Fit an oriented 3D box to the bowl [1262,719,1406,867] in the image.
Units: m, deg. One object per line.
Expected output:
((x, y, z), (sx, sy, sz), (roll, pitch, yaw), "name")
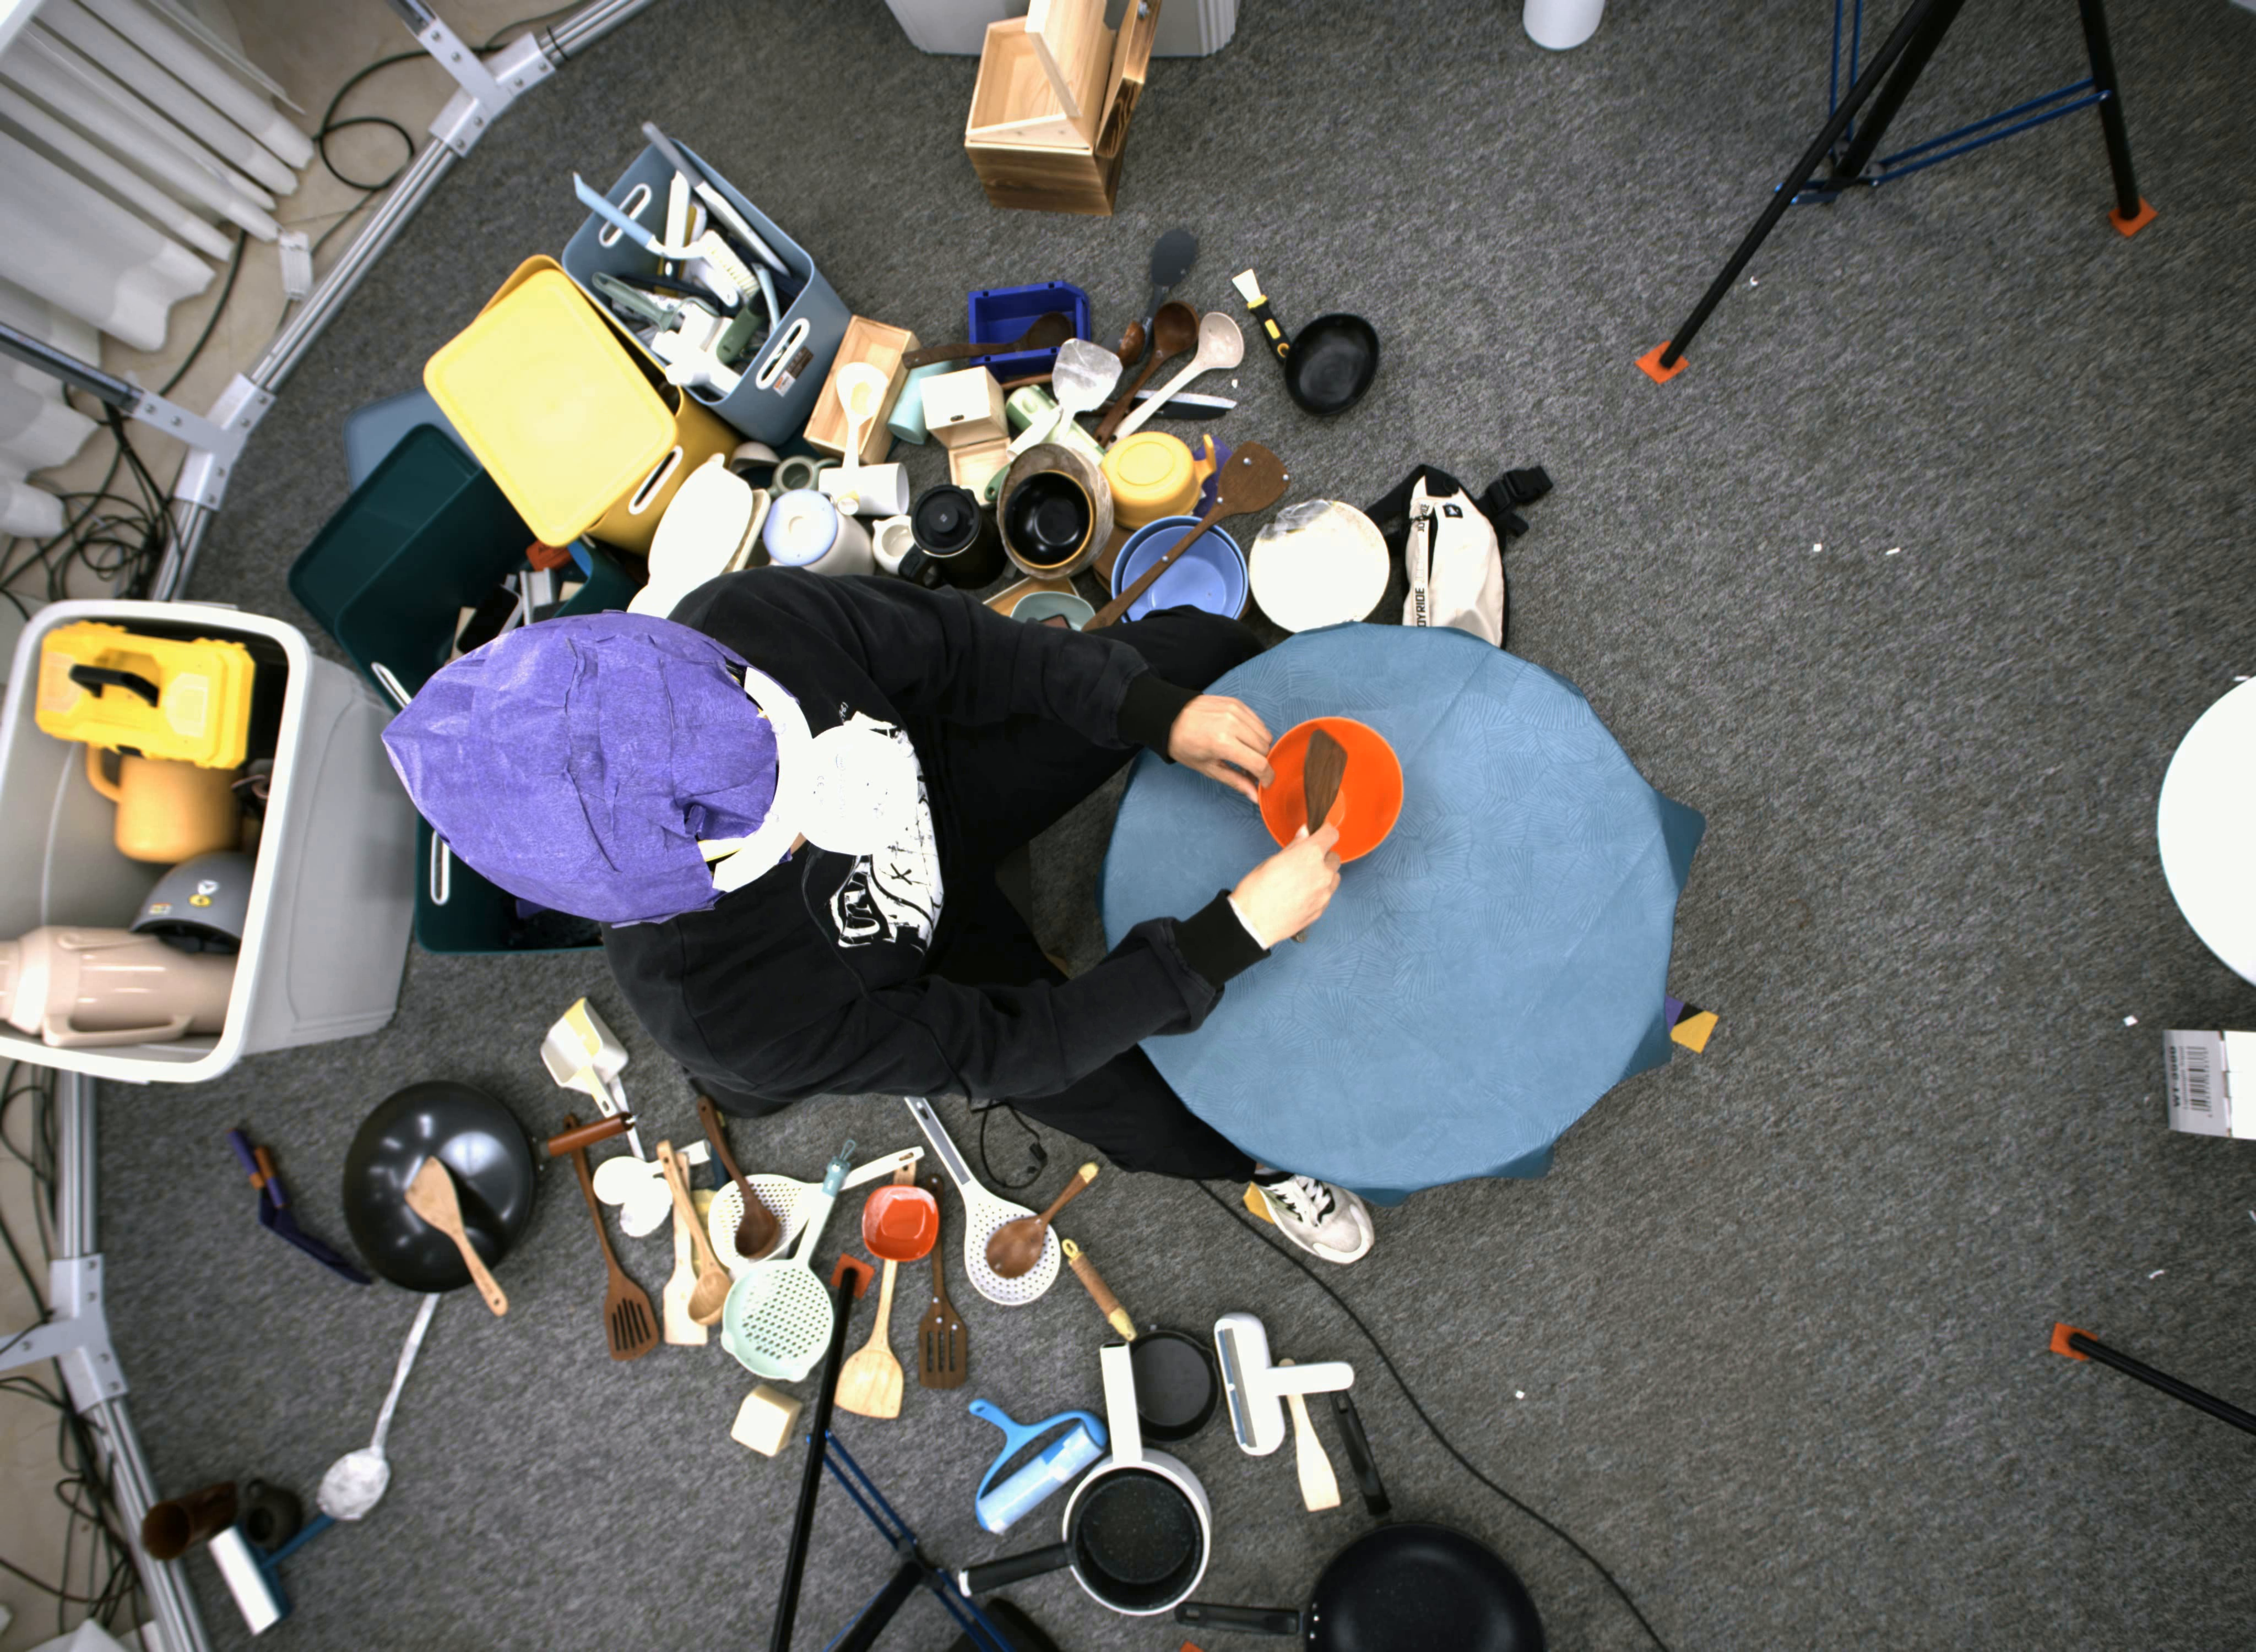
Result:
((0.205, -0.032, 1.426), (0.148, 0.105, 0.148), (0, 89, -4), "bowl")

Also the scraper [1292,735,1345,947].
((0.181, 0.015, 1.348), (0.011, 0.076, 0.208), (-1, 70, 36), "scraper")
